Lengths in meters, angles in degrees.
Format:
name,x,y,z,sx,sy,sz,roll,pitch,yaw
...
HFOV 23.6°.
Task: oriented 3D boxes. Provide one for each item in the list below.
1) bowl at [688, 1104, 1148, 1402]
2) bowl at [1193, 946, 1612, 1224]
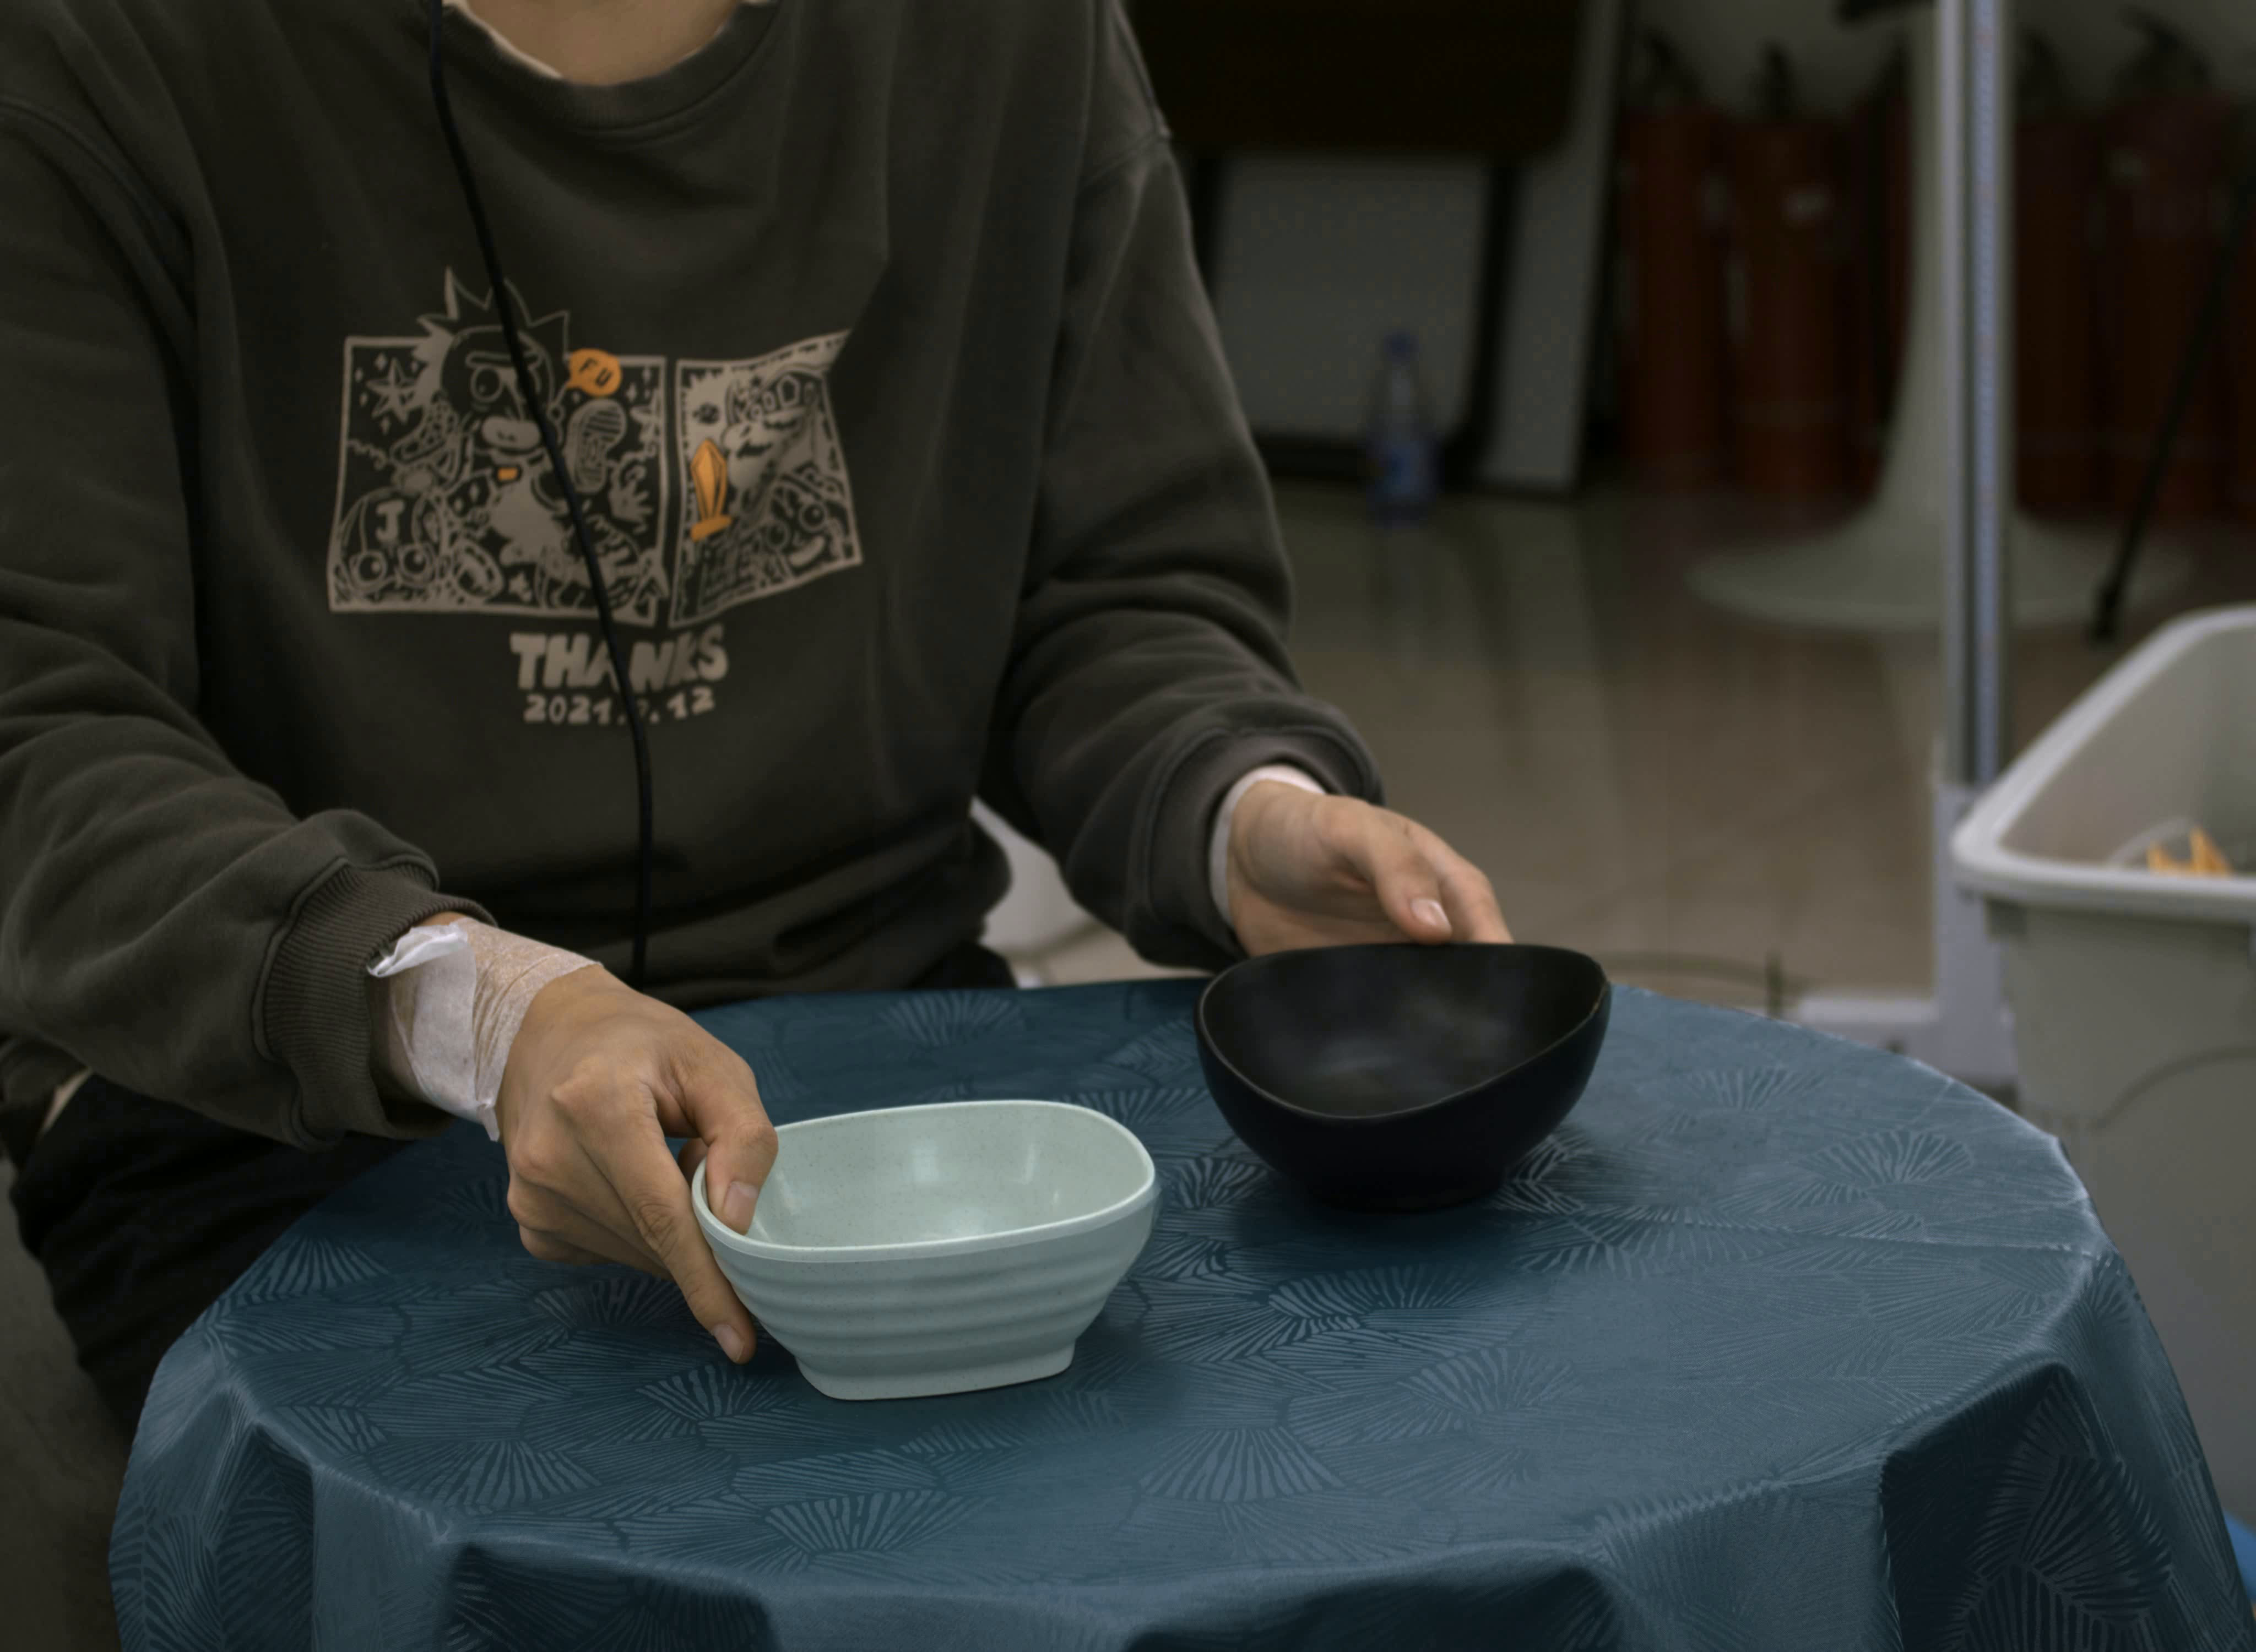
name,x,y,z,sx,sy,sz,roll,pitch,yaw
bowl,-0.062,0.132,1.627,0.149,0.059,0.151,-3,13,0
bowl,0.091,0.088,1.755,0.136,0.067,0.169,-1,15,13
